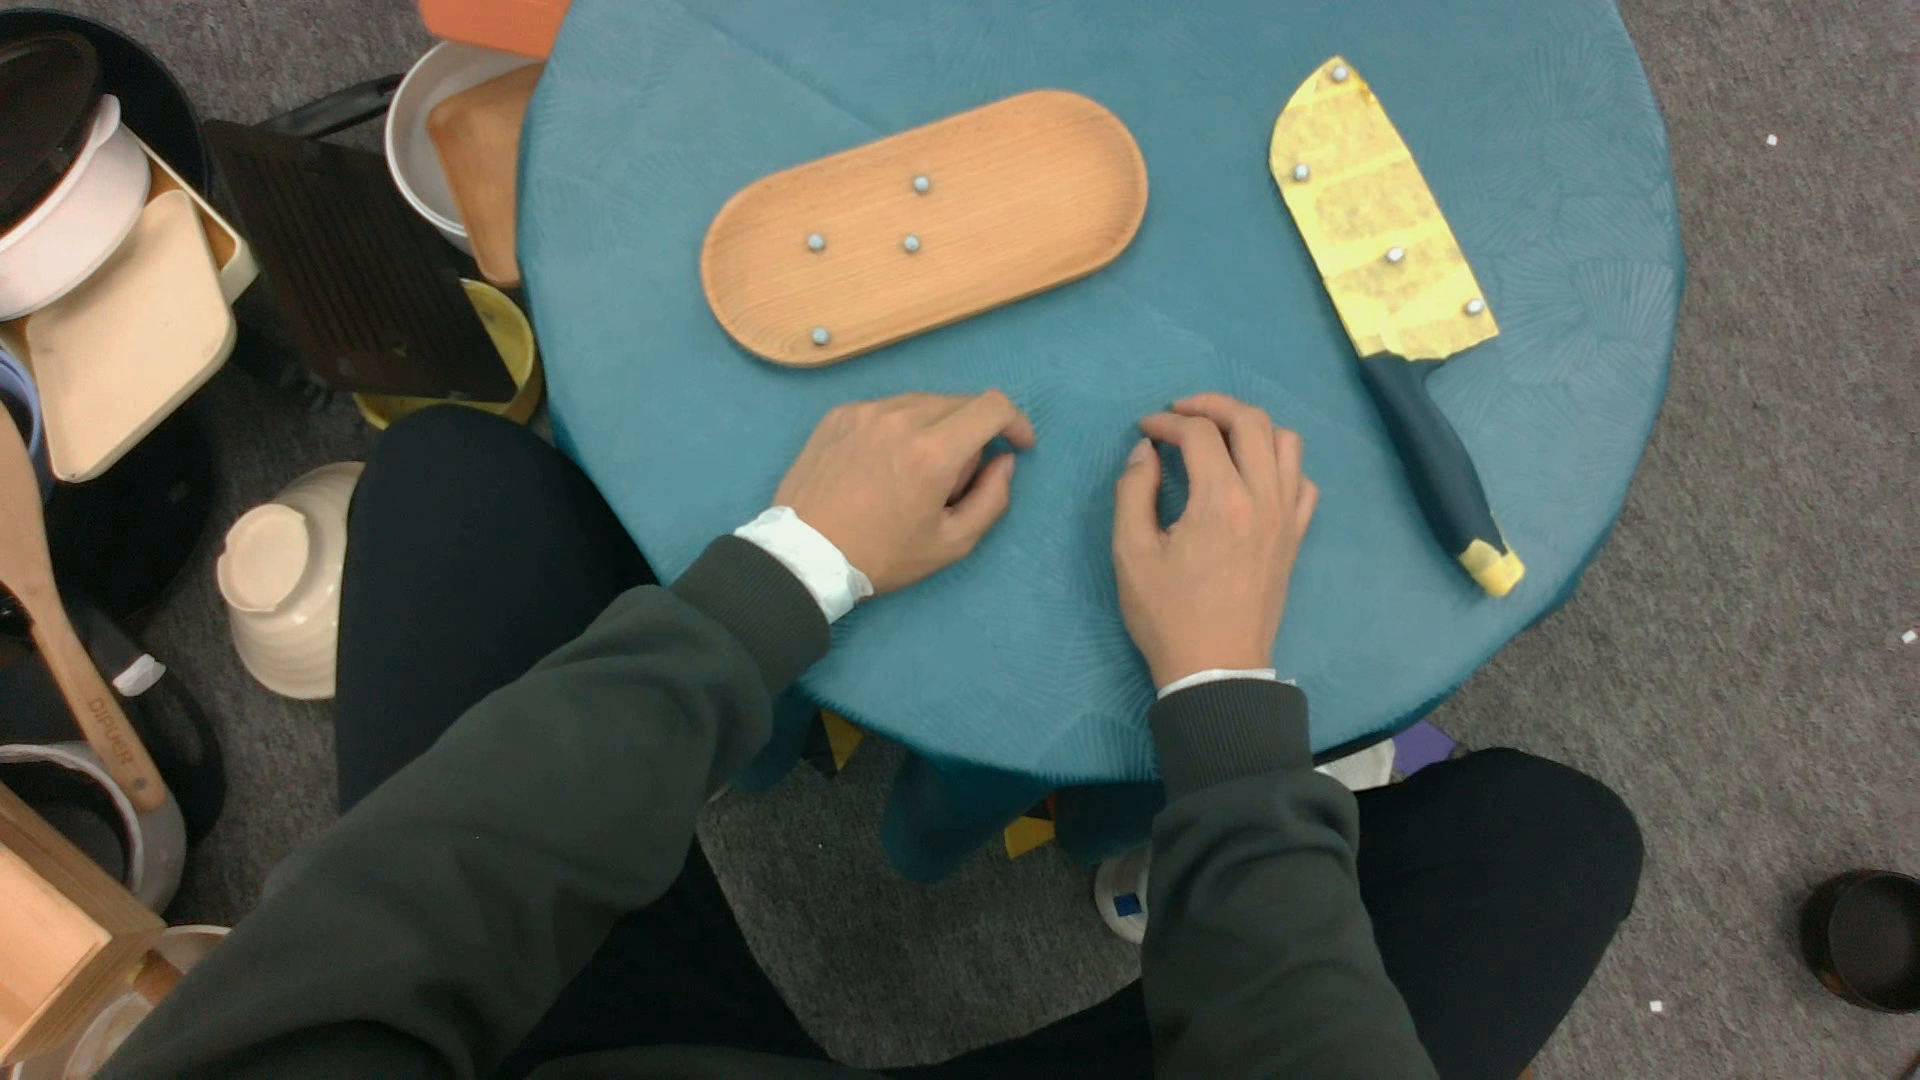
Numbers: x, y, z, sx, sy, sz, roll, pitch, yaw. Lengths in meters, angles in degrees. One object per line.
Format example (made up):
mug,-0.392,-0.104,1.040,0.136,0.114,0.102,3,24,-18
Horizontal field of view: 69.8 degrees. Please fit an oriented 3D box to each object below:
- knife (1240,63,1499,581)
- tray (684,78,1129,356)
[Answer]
knife,0.218,-0.119,0.706,0.081,0.027,0.290,-19,80,-6
tray,-0.025,-0.163,0.695,0.231,0.020,0.102,-21,83,-9
